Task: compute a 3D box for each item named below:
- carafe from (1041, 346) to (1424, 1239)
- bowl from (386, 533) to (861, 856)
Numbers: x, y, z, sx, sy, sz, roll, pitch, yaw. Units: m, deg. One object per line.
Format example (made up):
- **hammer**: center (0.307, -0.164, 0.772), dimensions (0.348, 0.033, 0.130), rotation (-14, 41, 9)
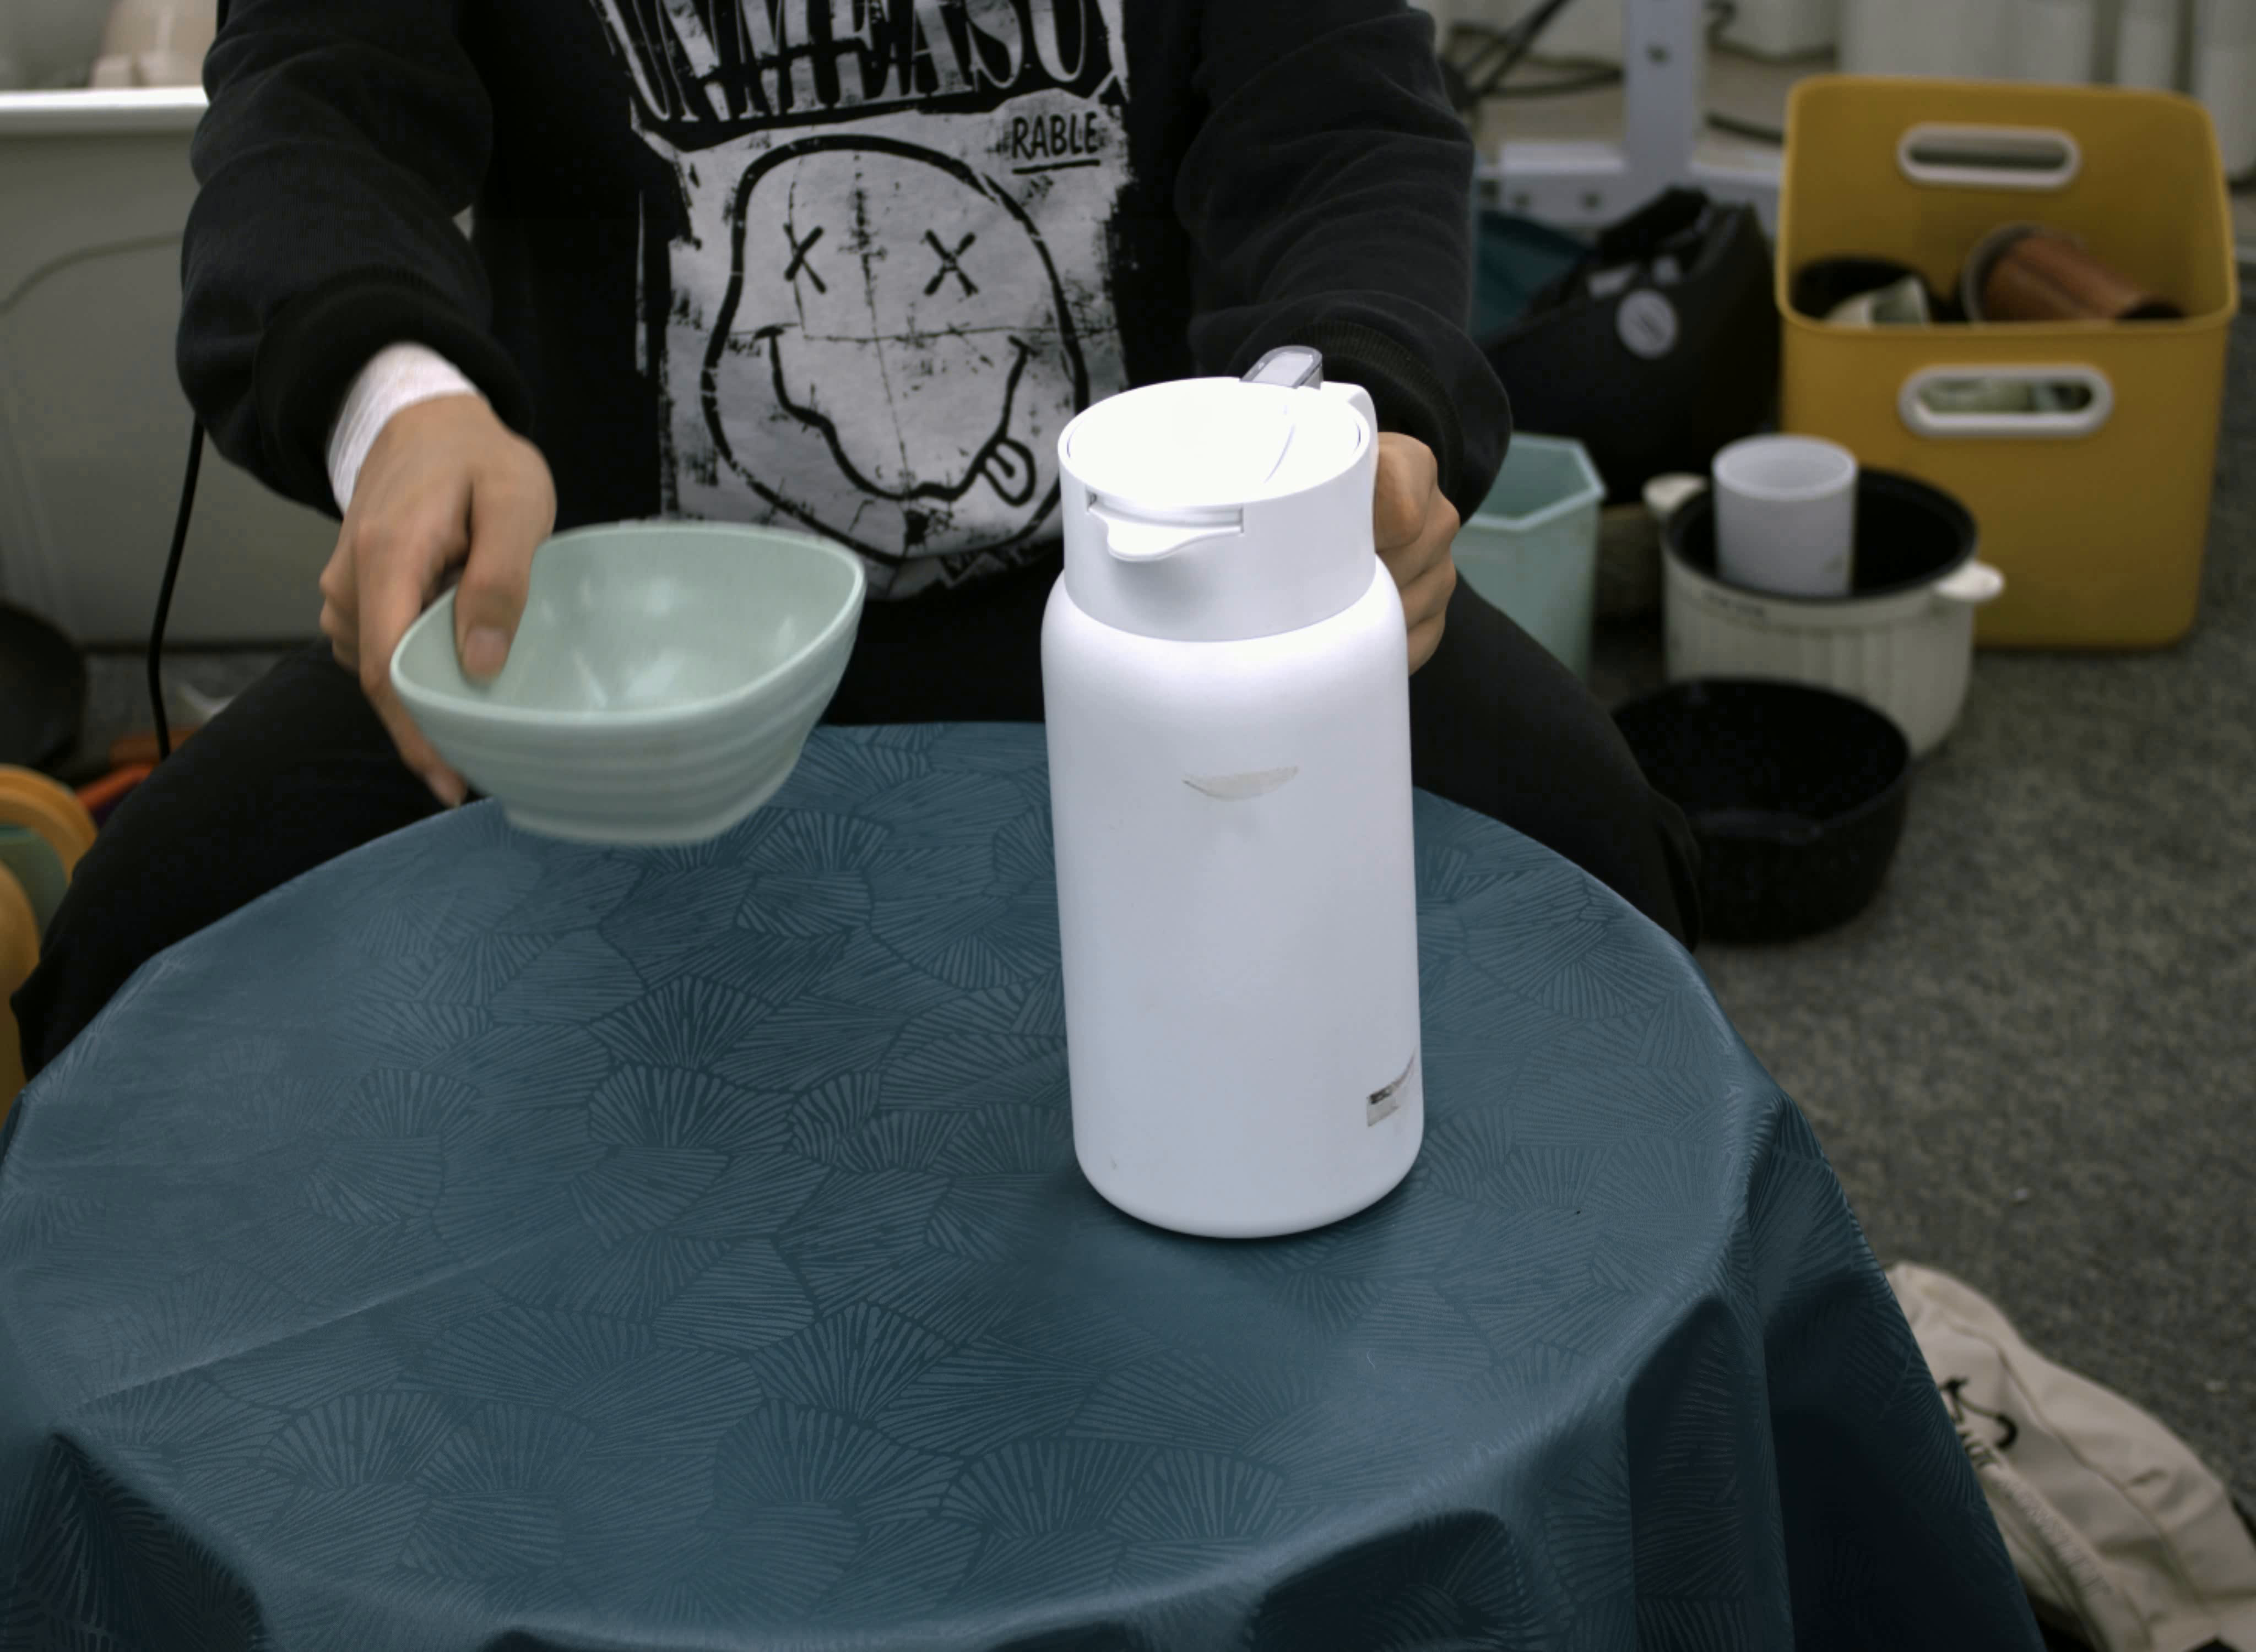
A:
- **carafe**: center (0.039, -0.015, 1.832), dimensions (0.123, 0.266, 0.176), rotation (5, 27, 22)
- **bowl**: center (-0.153, -0.036, 1.752), dimensions (0.150, 0.058, 0.154), rotation (-5, 26, 3)
